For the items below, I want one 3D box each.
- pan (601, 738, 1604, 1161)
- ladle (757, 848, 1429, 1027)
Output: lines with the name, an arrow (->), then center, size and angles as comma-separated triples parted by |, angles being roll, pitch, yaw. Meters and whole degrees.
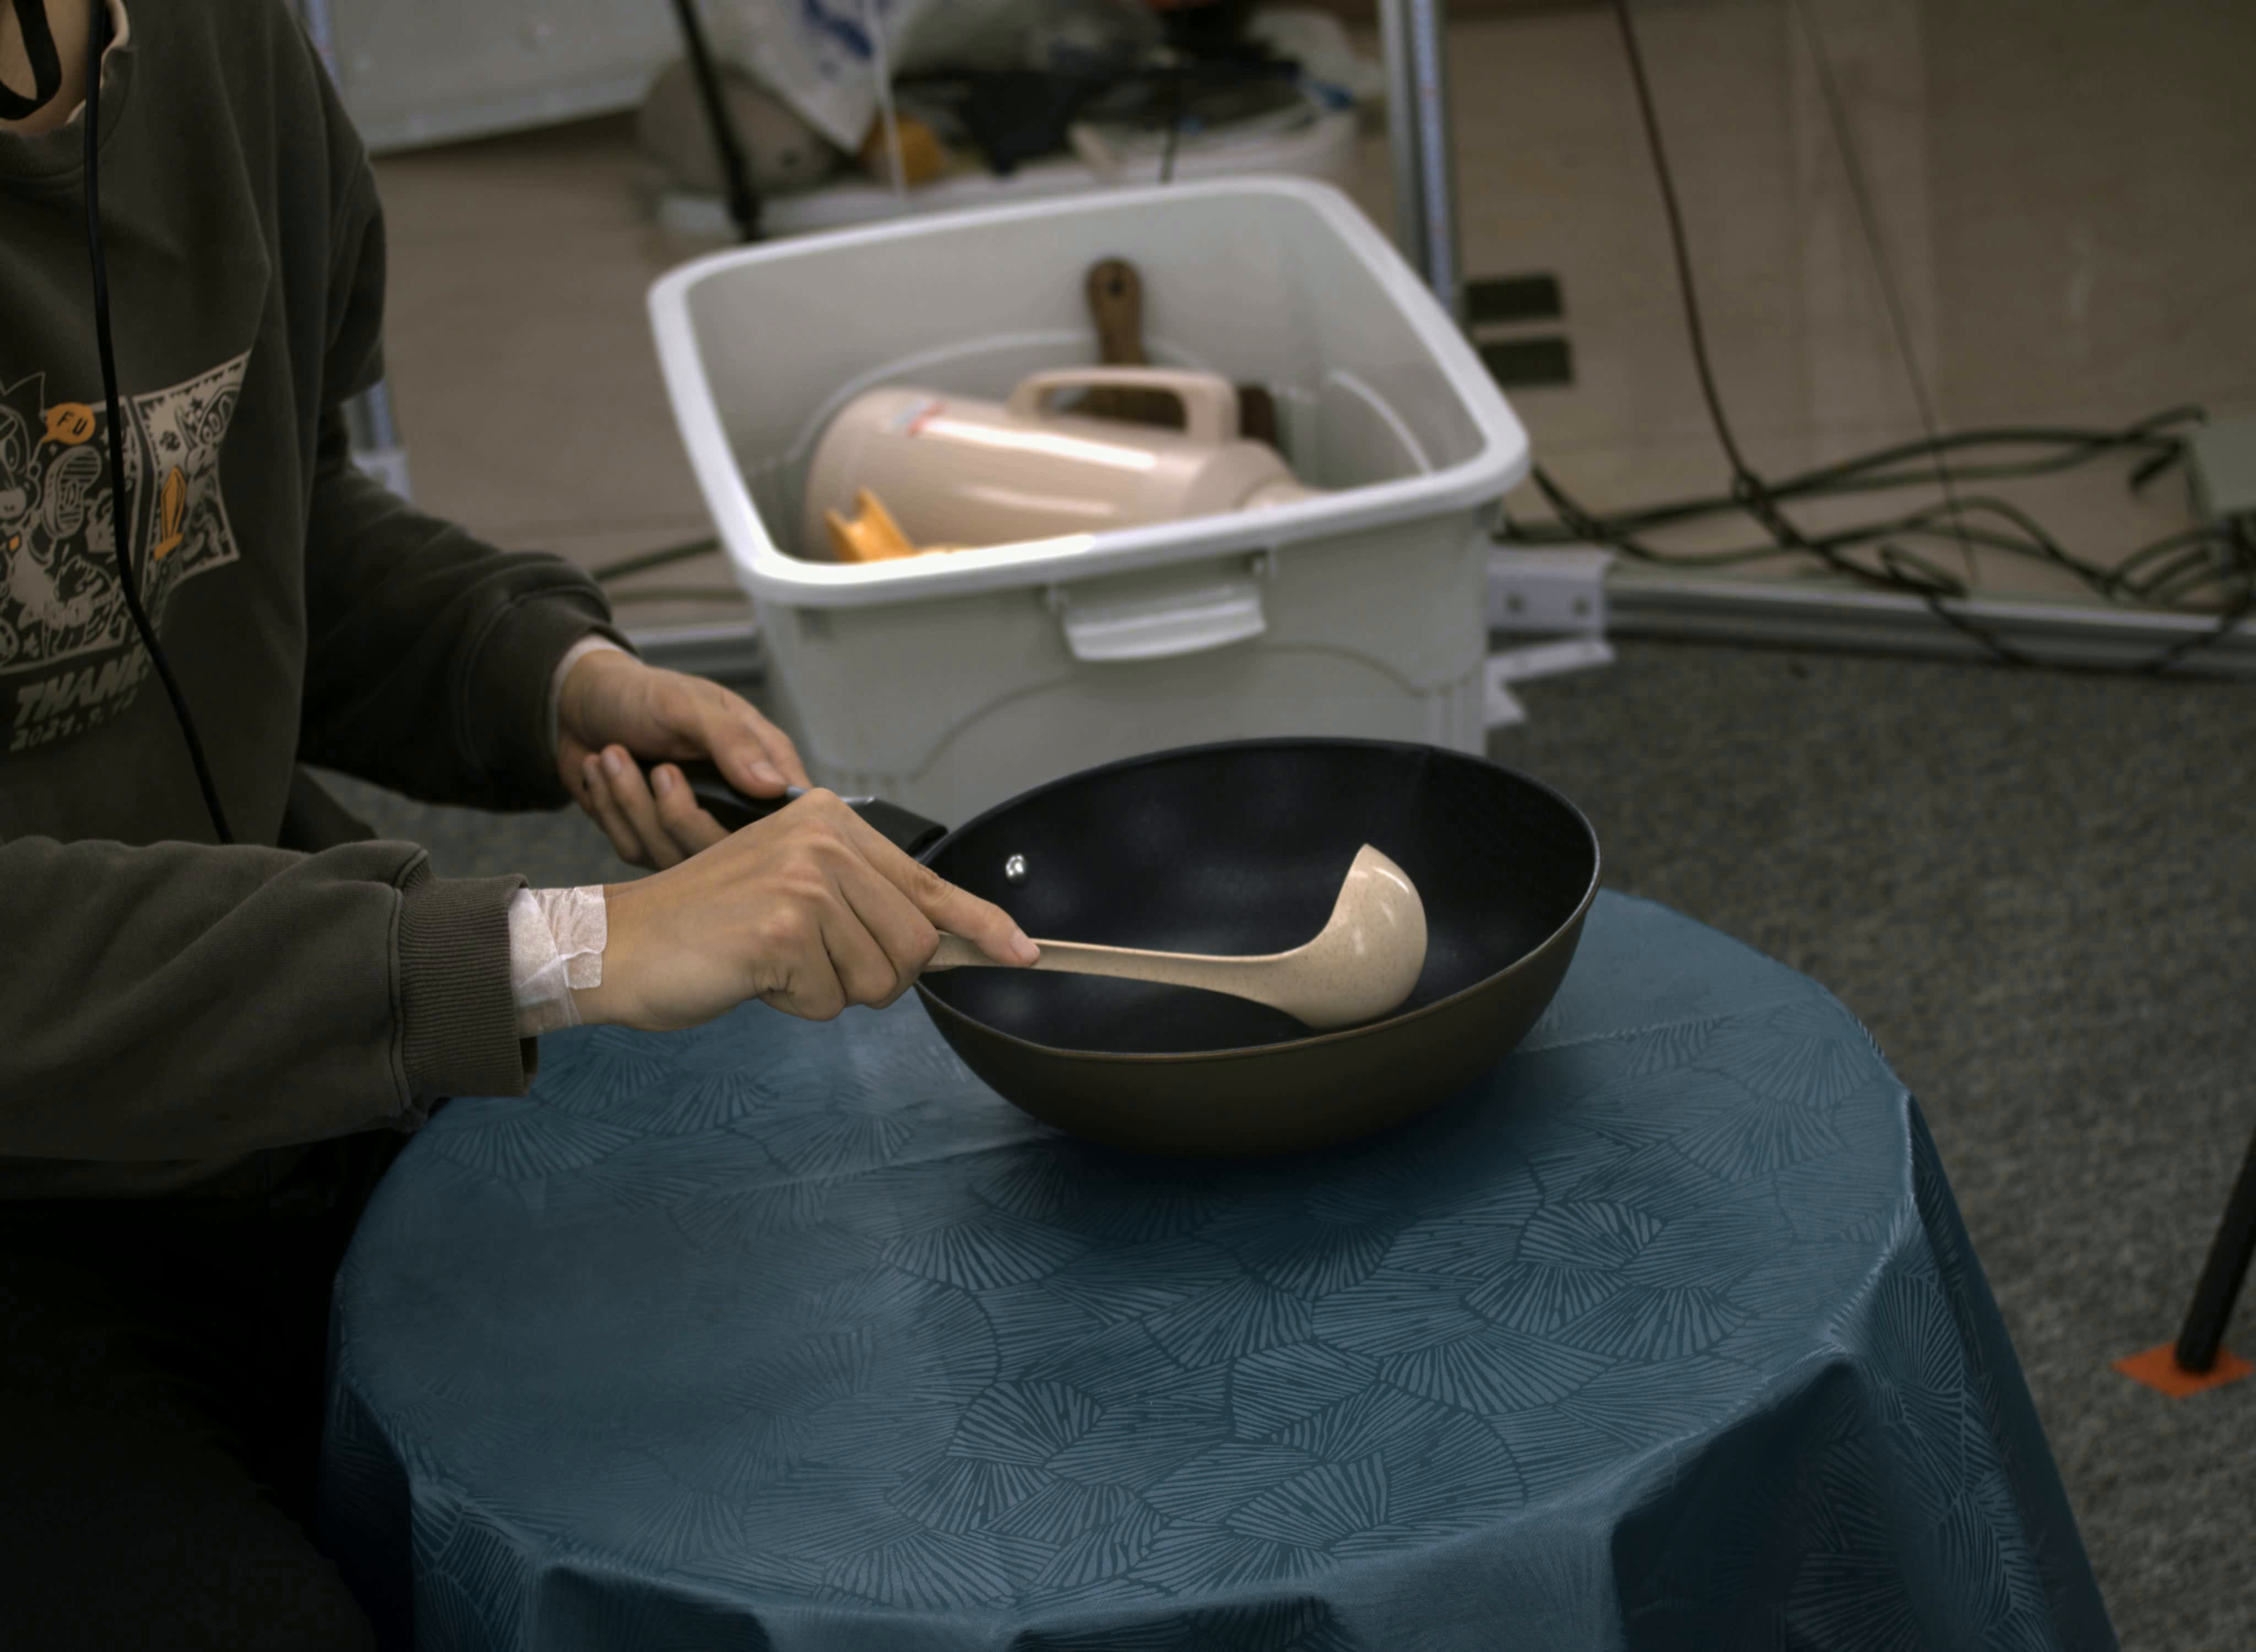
pan -> -0.026, 0.044, 2.256 | 0.461, 0.088, 0.285 | 10, 30, 33
ladle -> -0.014, 0.028, 2.069 | 0.254, 0.073, 0.071 | 9, 41, -16
